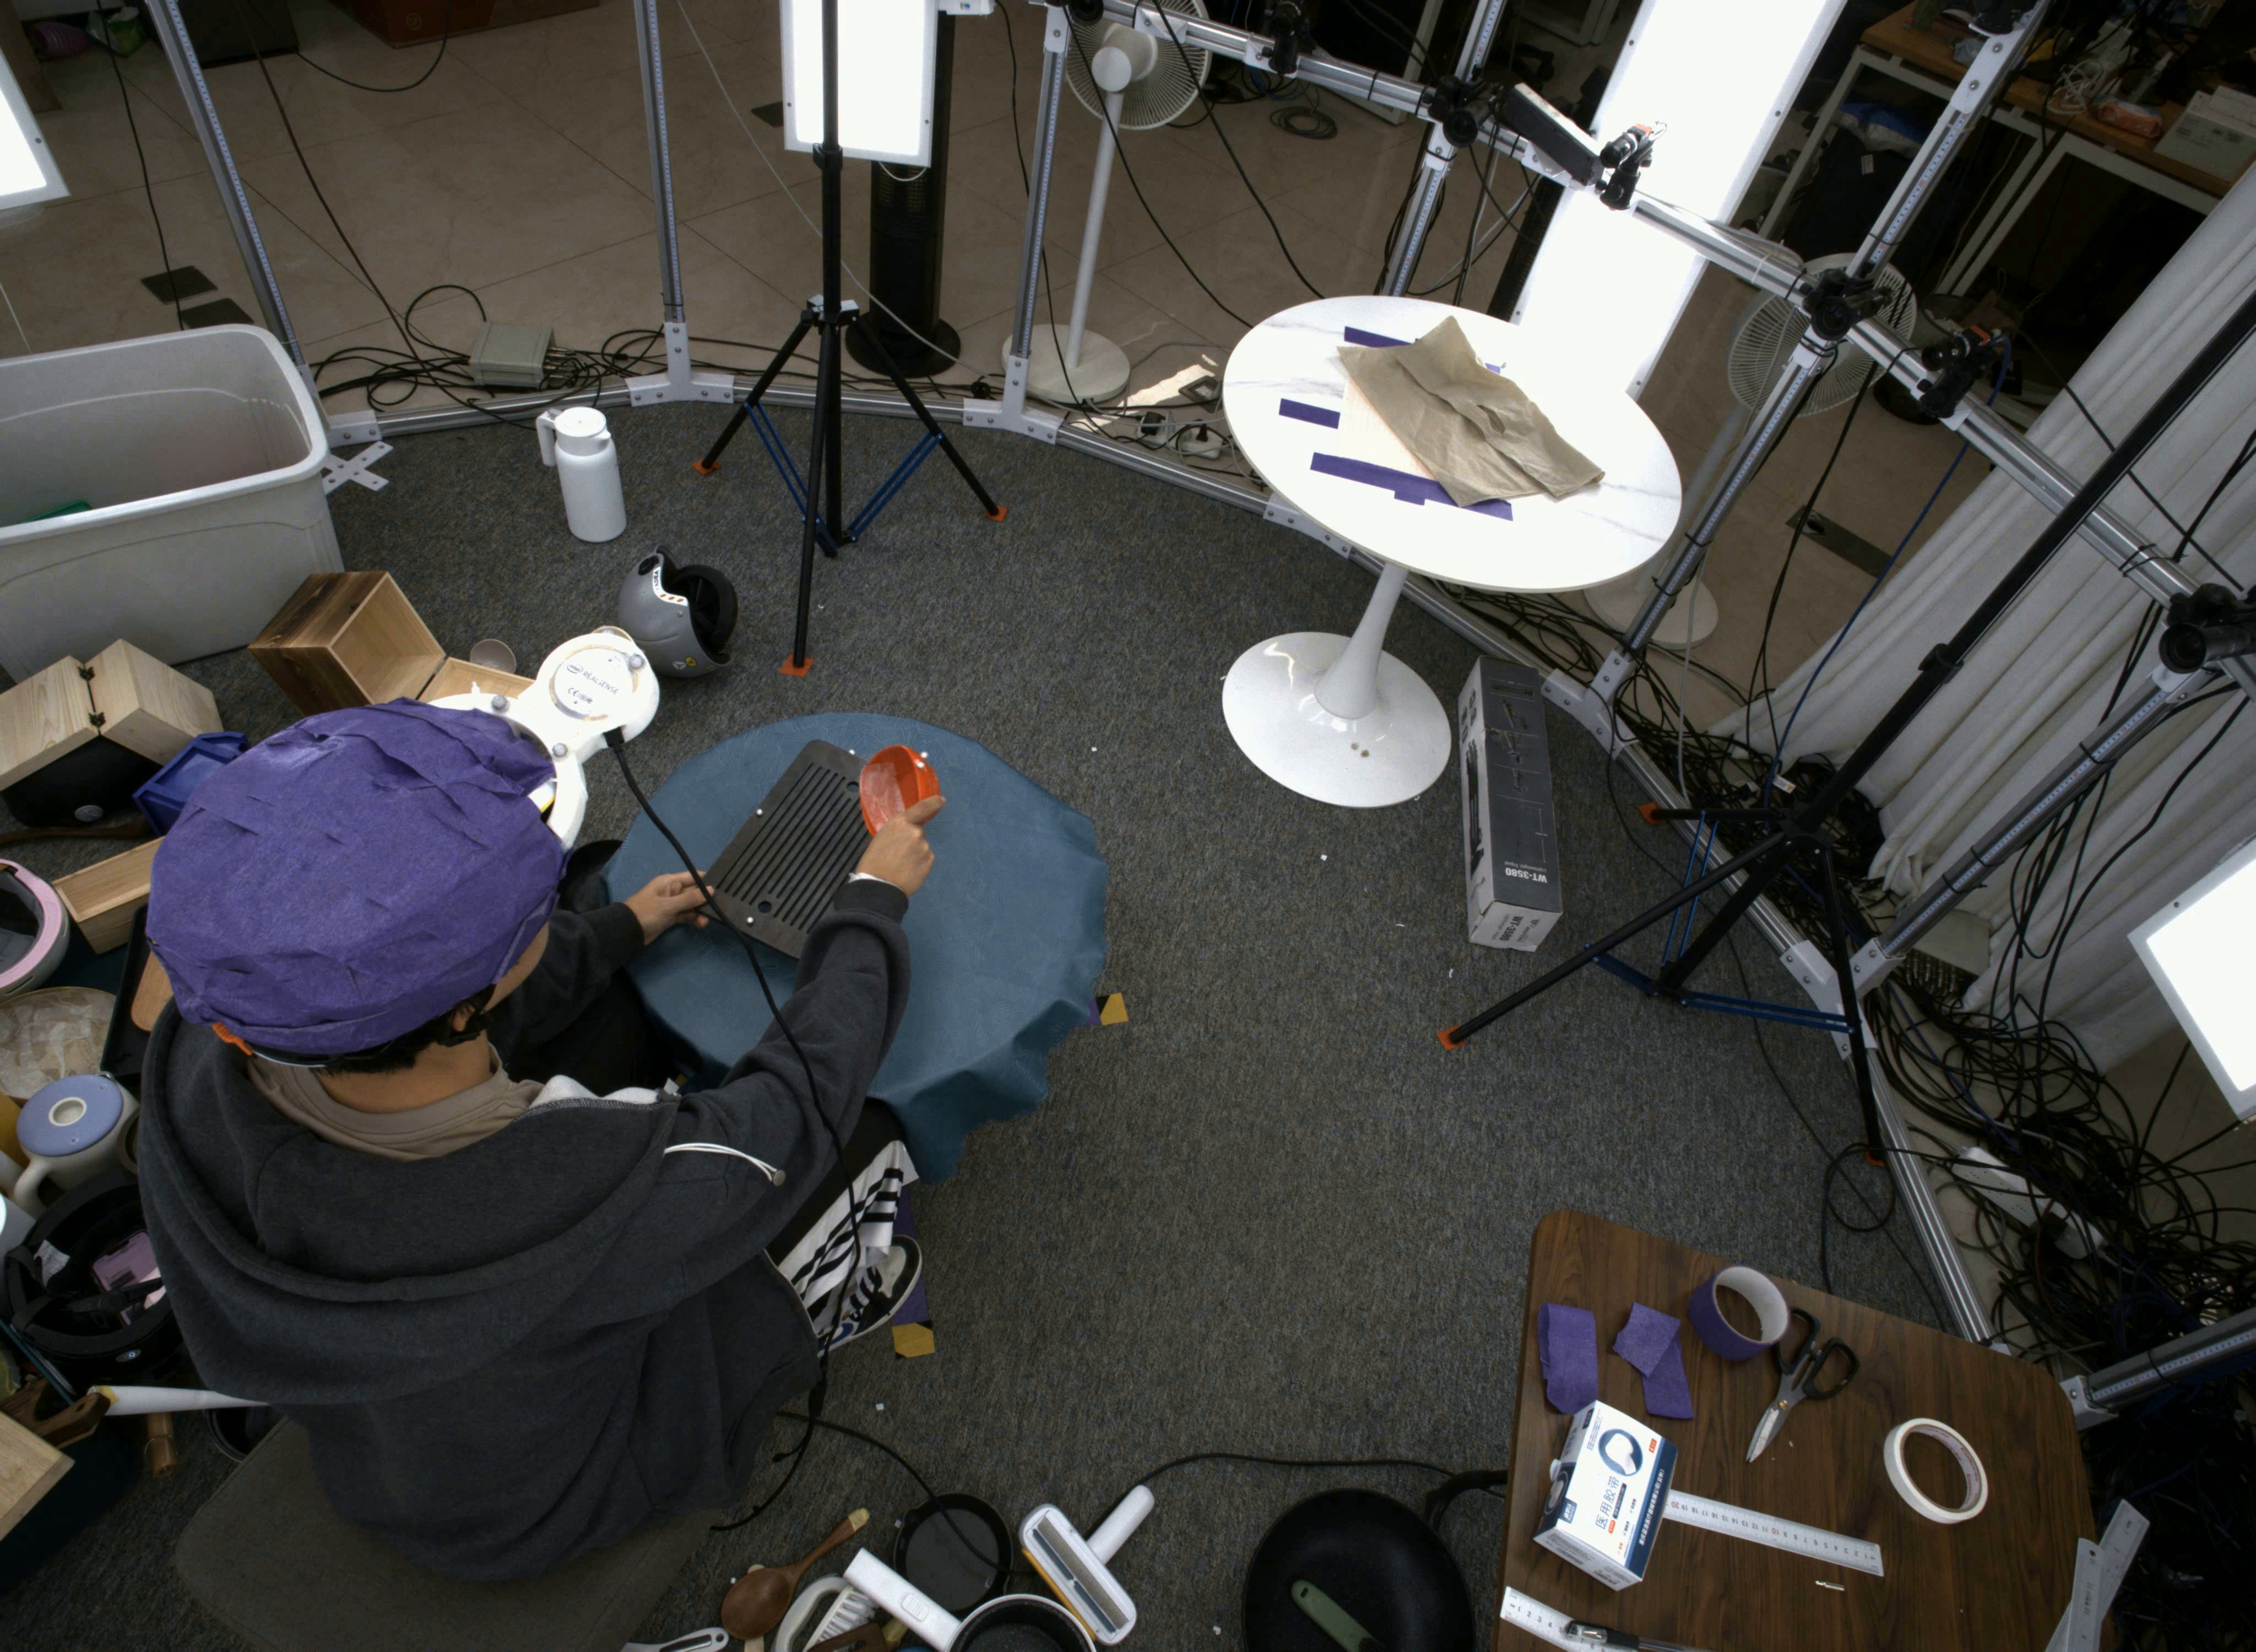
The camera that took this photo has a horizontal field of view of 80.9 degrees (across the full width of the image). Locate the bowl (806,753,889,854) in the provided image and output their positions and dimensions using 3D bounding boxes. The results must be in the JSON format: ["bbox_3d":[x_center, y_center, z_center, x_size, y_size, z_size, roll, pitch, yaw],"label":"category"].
[{"bbox_3d":[-0.322,-0.025,1.521,0.052,0.119,0.116,3,44,-53],"label":"bowl"}]

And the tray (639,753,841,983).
[{"bbox_3d":[-0.466,0.046,1.627,0.169,0.019,0.303,24,54,0],"label":"tray"}]
